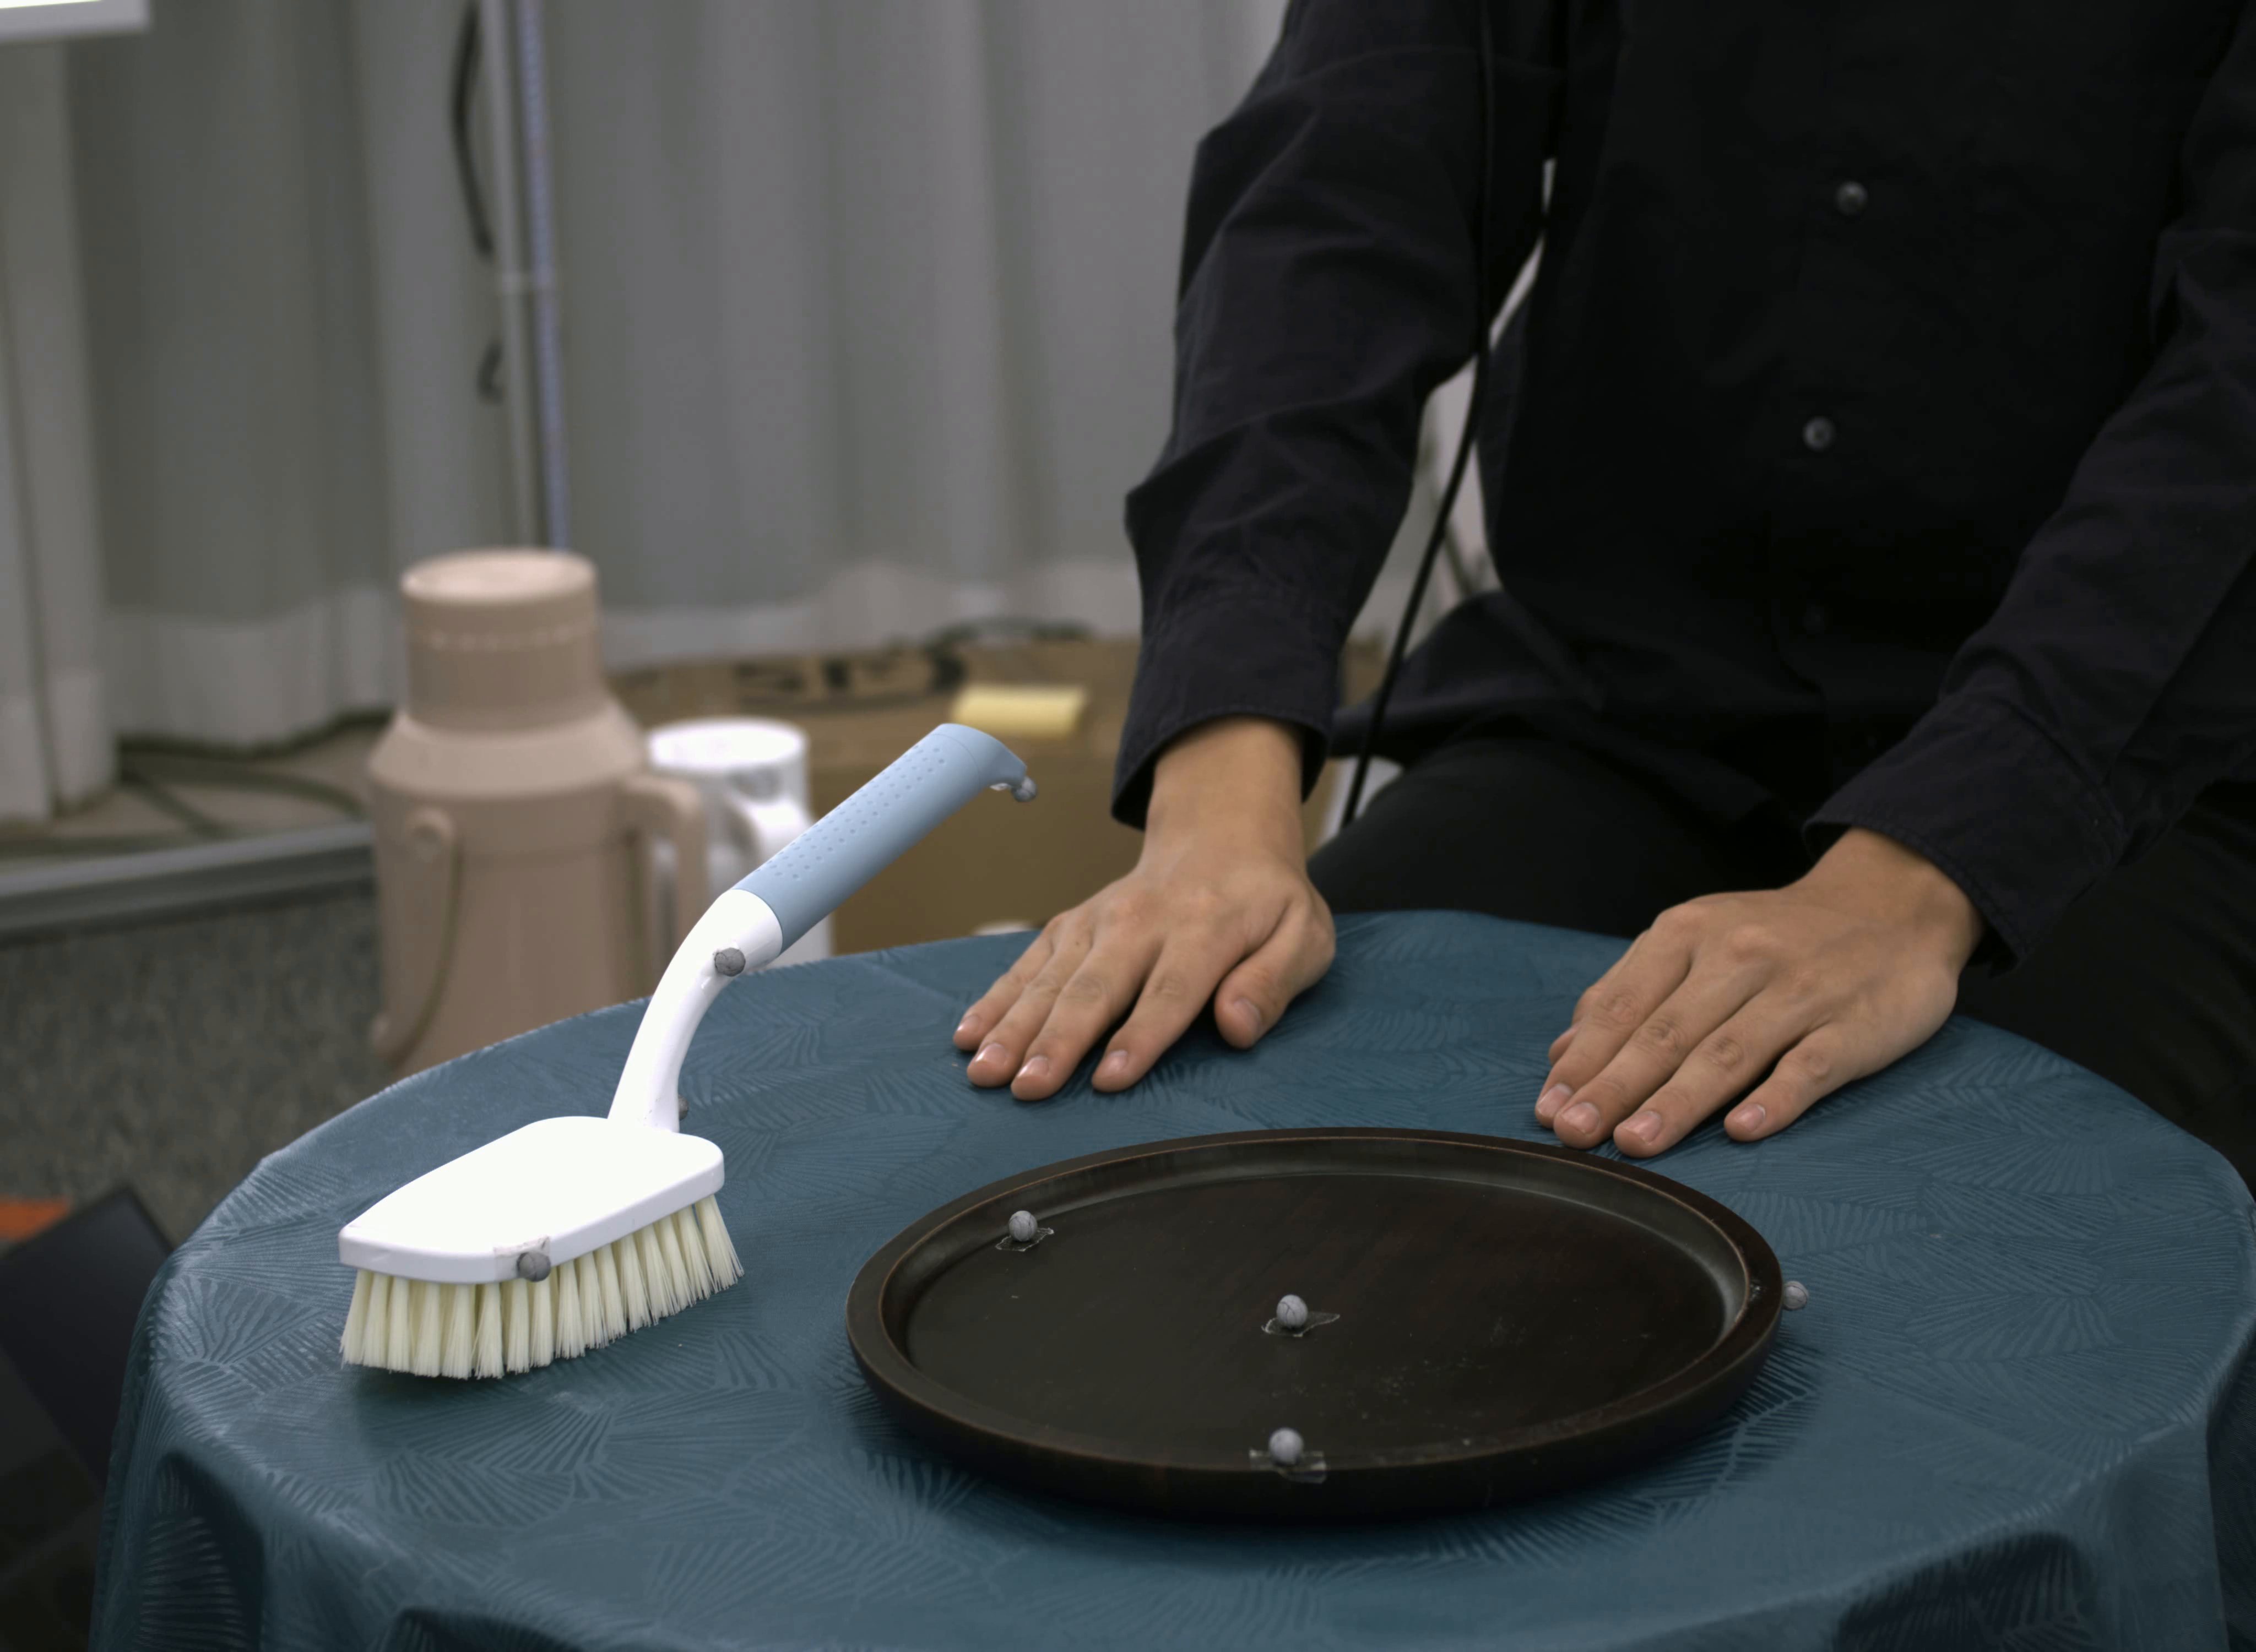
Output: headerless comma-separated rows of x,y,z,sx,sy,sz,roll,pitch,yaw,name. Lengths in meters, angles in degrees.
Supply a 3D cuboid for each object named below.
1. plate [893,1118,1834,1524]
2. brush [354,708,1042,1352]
0.064,0.130,1.428,0.253,0.029,0.256,-5,16,0,plate
-0.111,0.073,1.557,0.084,0.085,0.321,40,43,10,brush
